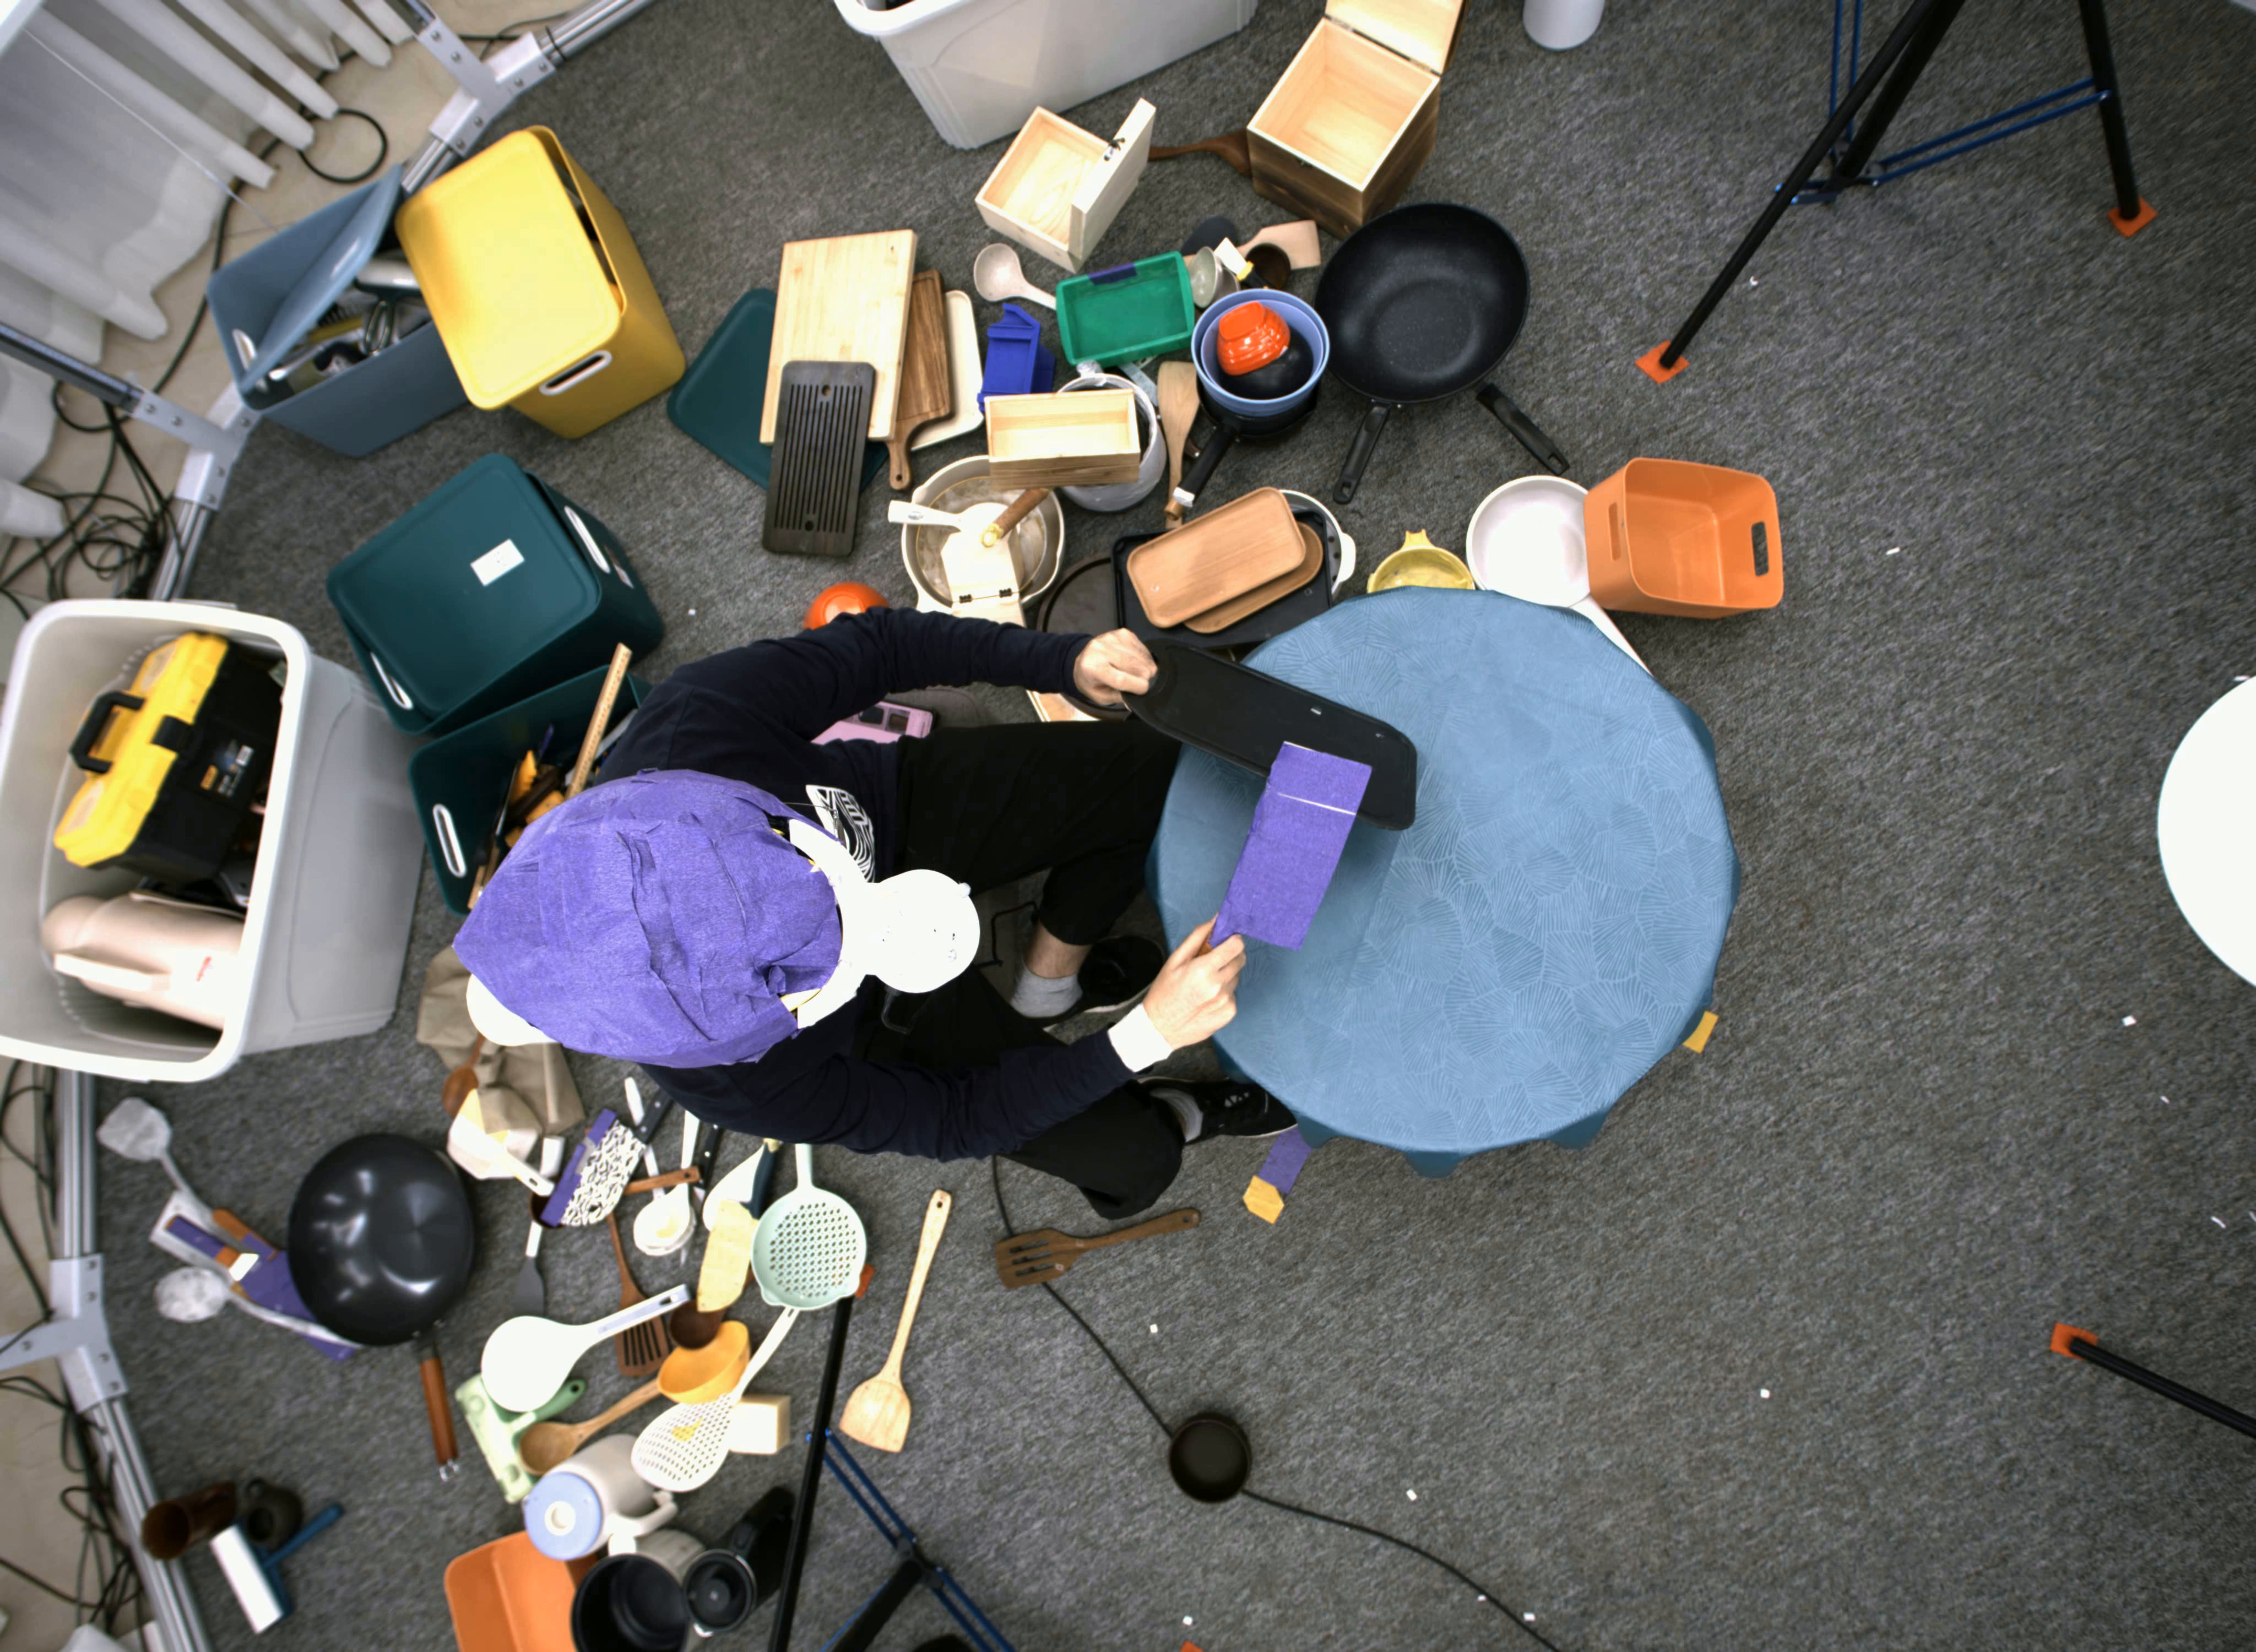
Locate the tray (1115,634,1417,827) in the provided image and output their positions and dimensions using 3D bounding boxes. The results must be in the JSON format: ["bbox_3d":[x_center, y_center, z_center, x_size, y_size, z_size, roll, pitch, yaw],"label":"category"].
[{"bbox_3d":[0.142,-0.104,1.379,0.326,0.205,0.010,23,125,-2],"label":"tray"}]

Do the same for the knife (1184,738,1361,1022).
[{"bbox_3d":[0.139,0.066,1.341,0.104,0.031,0.322,16,119,-2],"label":"knife"}]
